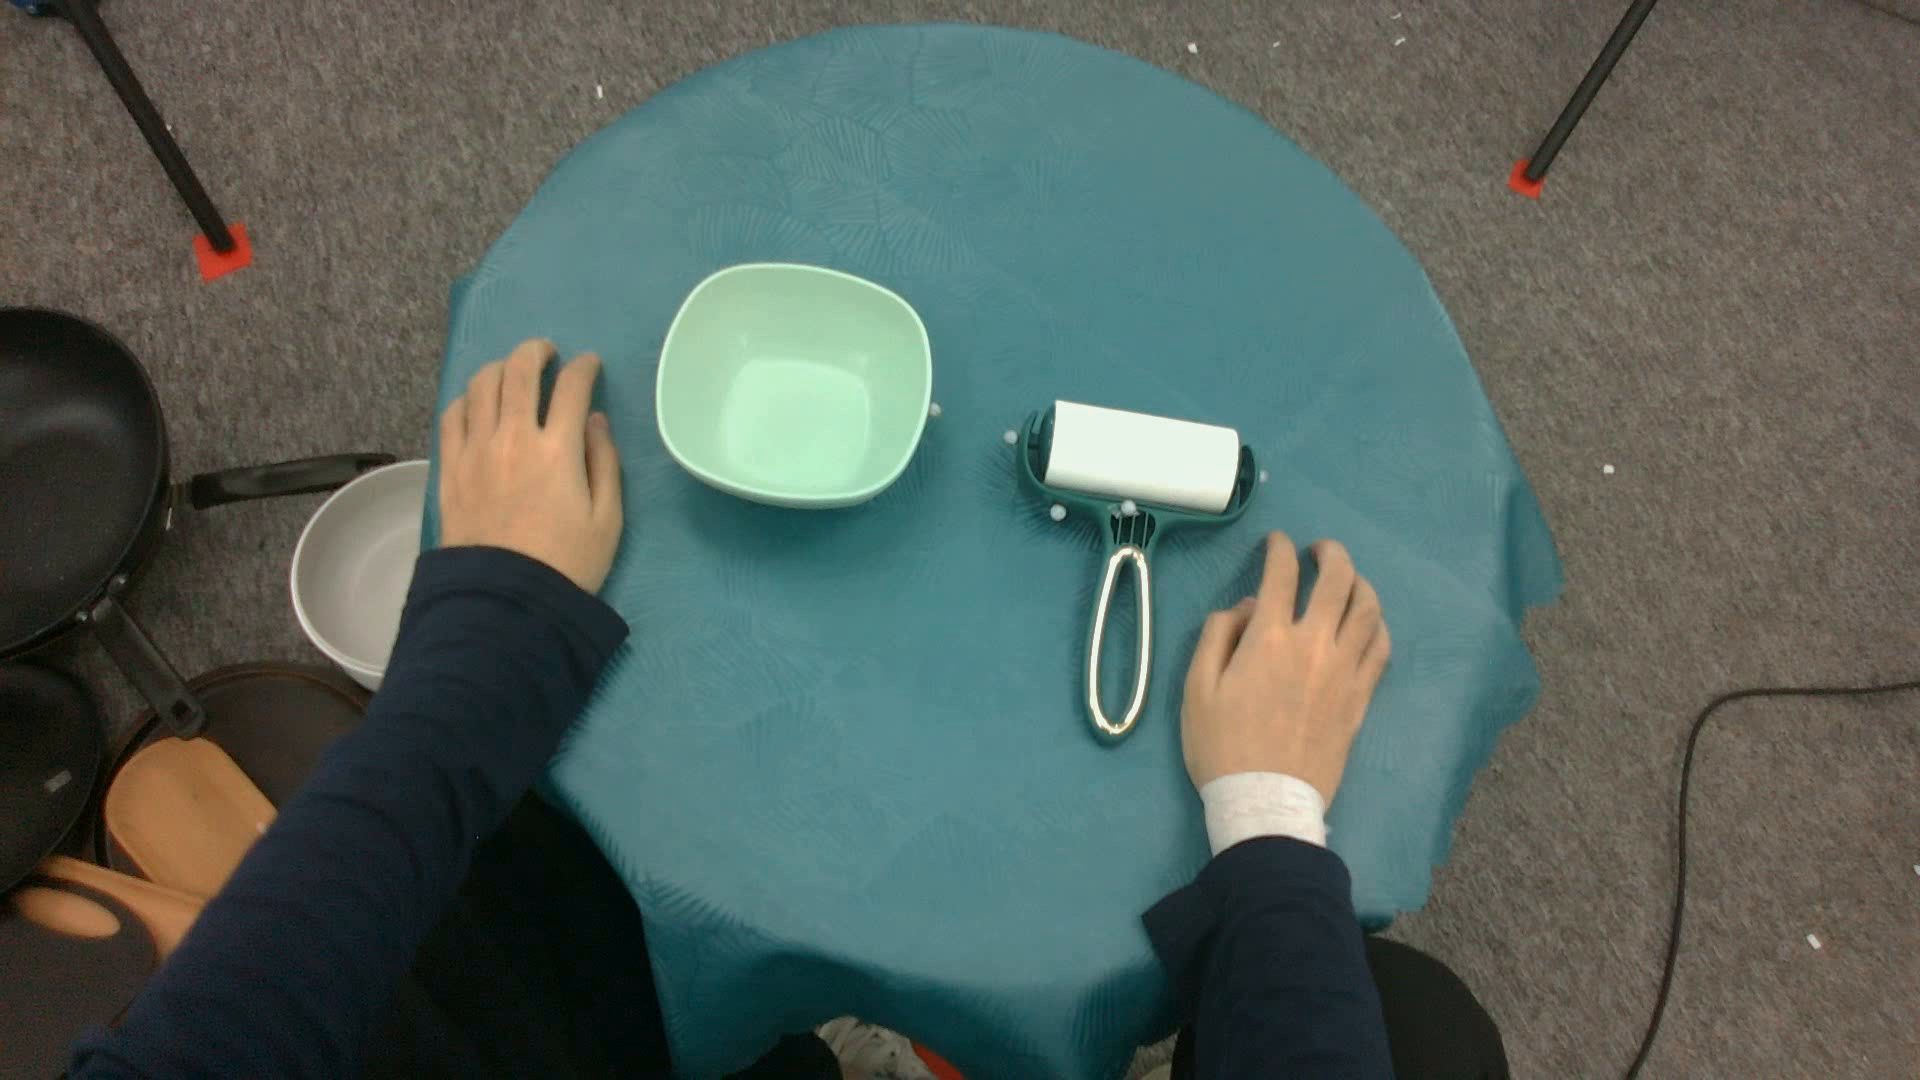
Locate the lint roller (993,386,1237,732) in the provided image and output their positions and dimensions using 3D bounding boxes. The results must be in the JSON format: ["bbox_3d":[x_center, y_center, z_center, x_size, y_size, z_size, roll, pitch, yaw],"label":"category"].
[{"bbox_3d":[0.077,0.008,0.724,0.134,0.048,0.181,8,67,-4],"label":"lint roller"}]

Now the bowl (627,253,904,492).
[{"bbox_3d":[-0.102,-0.079,0.729,0.151,0.058,0.152,4,62,-8],"label":"bowl"}]
